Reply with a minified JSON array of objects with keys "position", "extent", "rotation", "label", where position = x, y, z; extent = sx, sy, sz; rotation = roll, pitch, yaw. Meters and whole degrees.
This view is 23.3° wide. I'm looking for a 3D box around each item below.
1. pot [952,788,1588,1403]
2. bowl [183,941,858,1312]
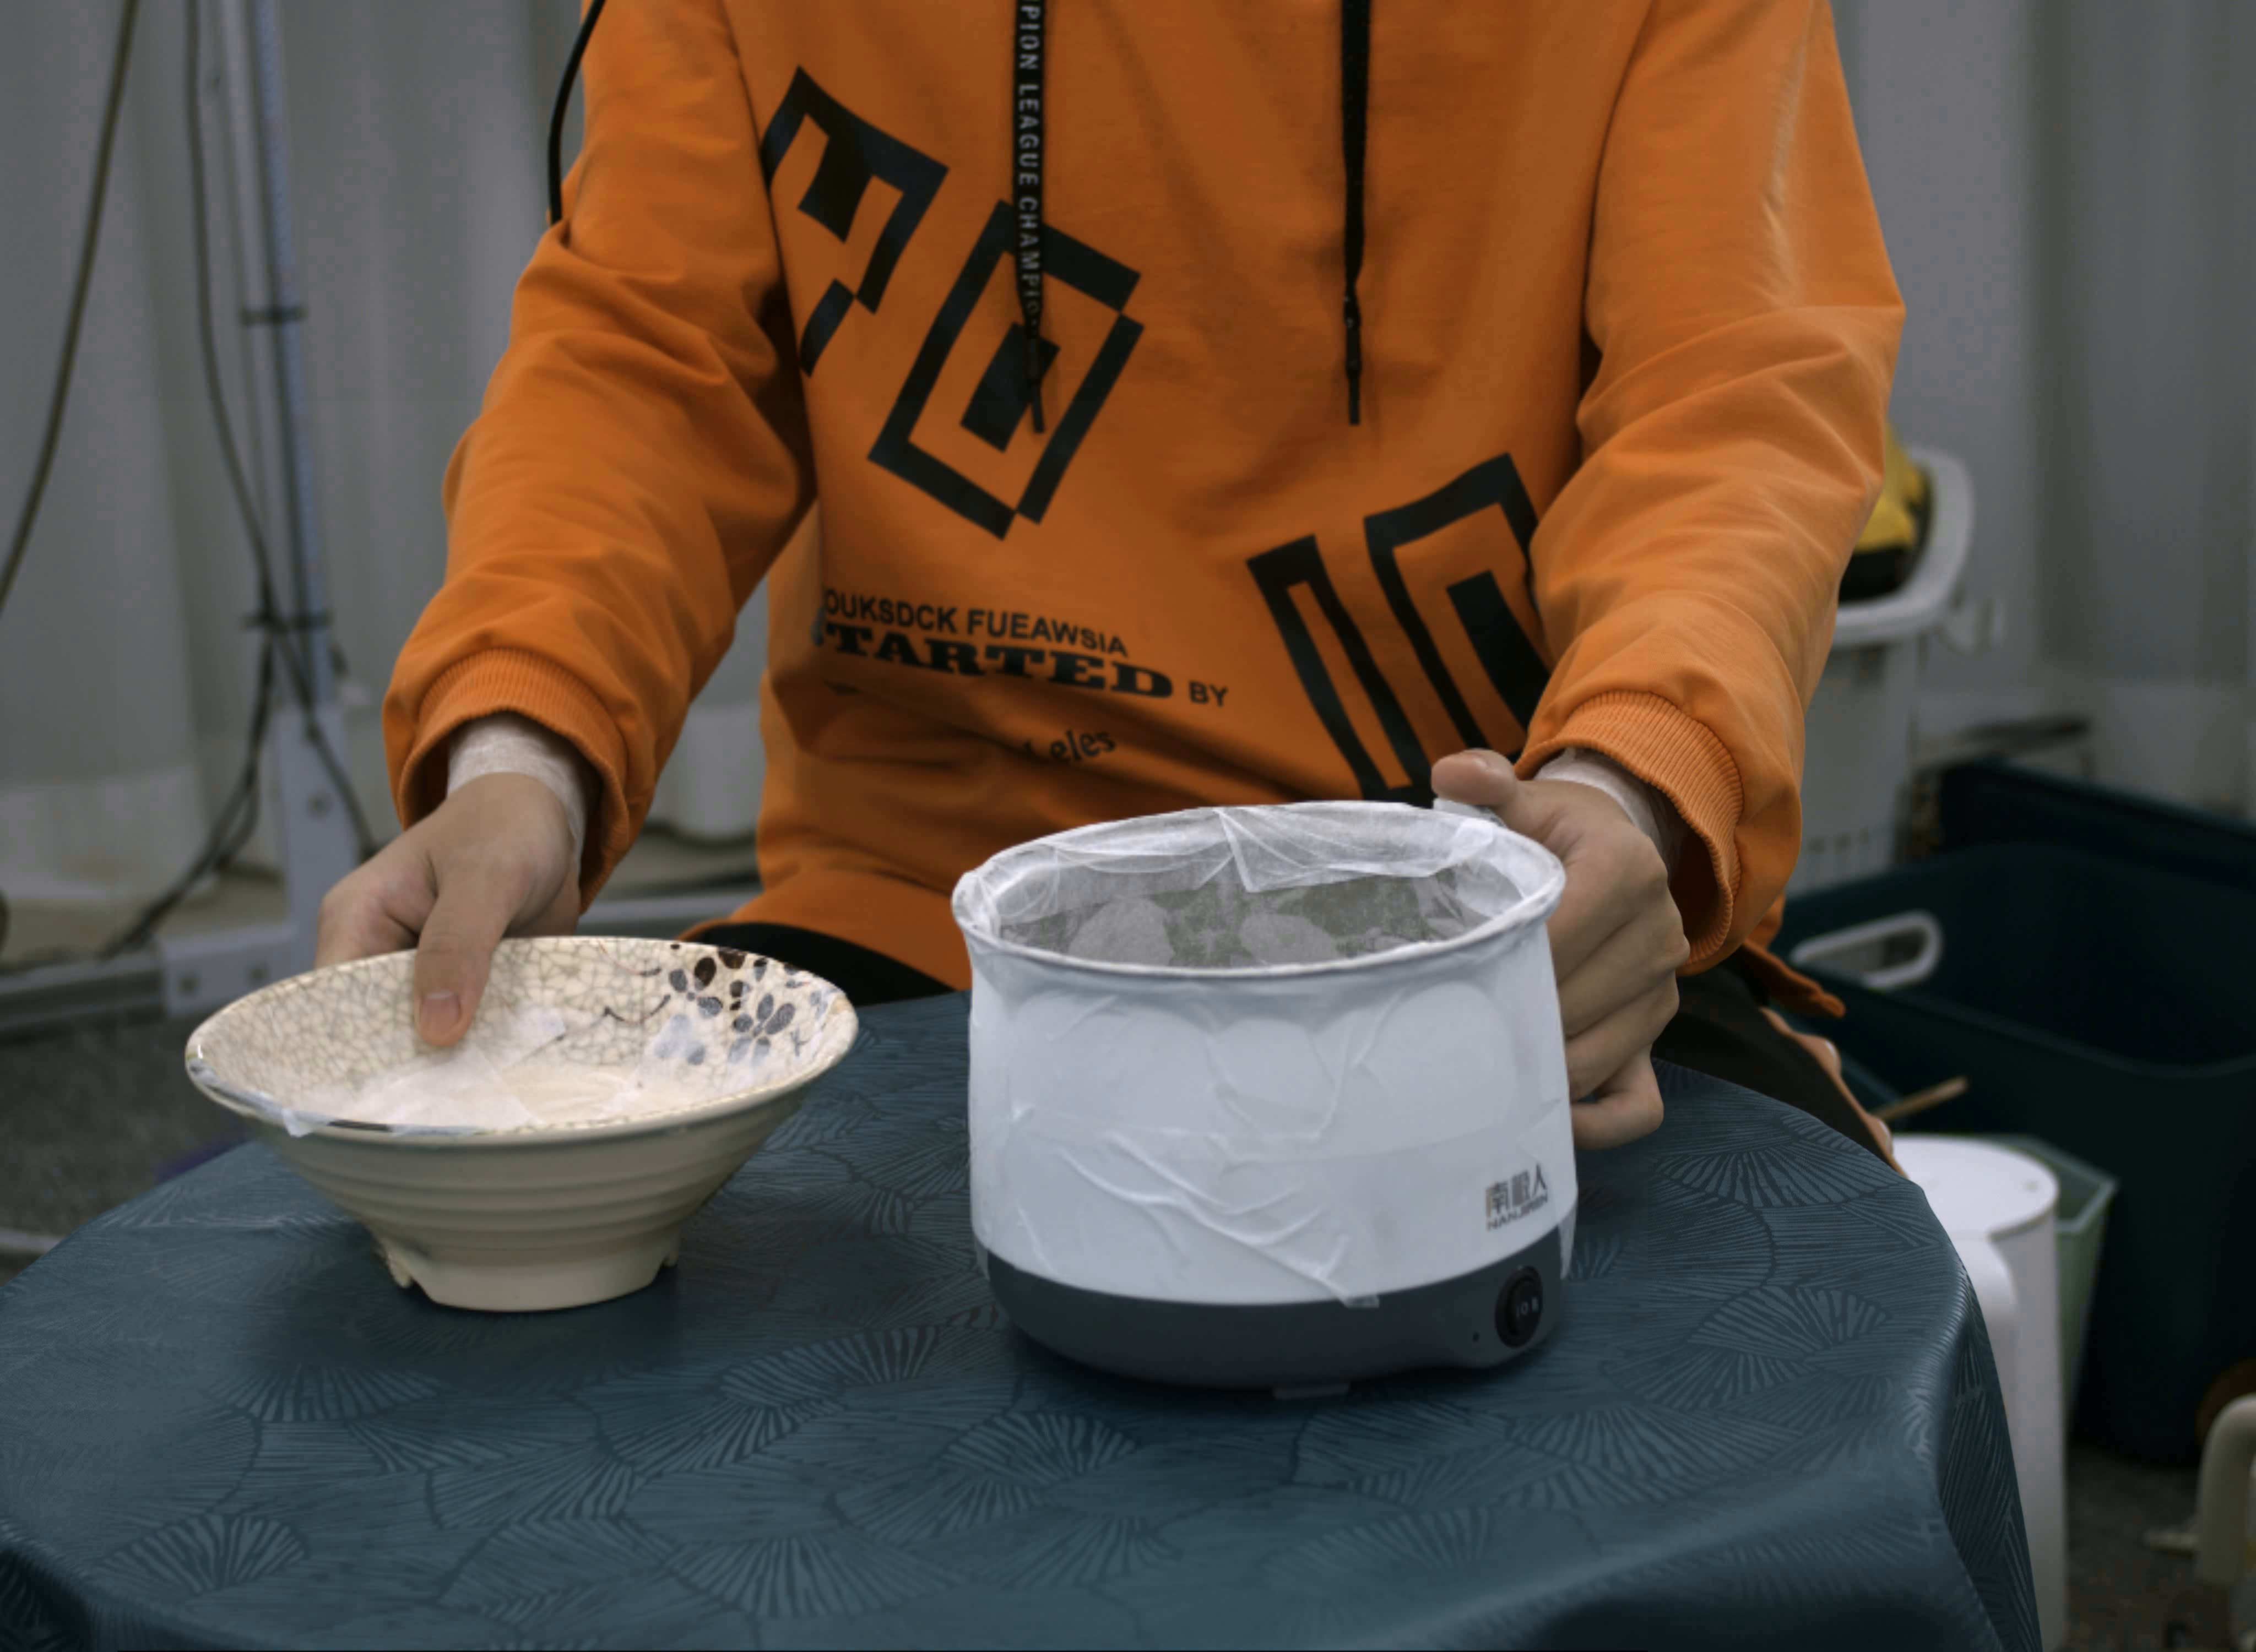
[{"position":[0.057,0.071,1.603],"extent":[0.179,0.136,0.233],"rotation":[8,18,36],"label":"pot"},{"position":[-0.183,0.098,1.663],"extent":[0.203,0.078,0.205],"rotation":[-1,13,0],"label":"bowl"}]
